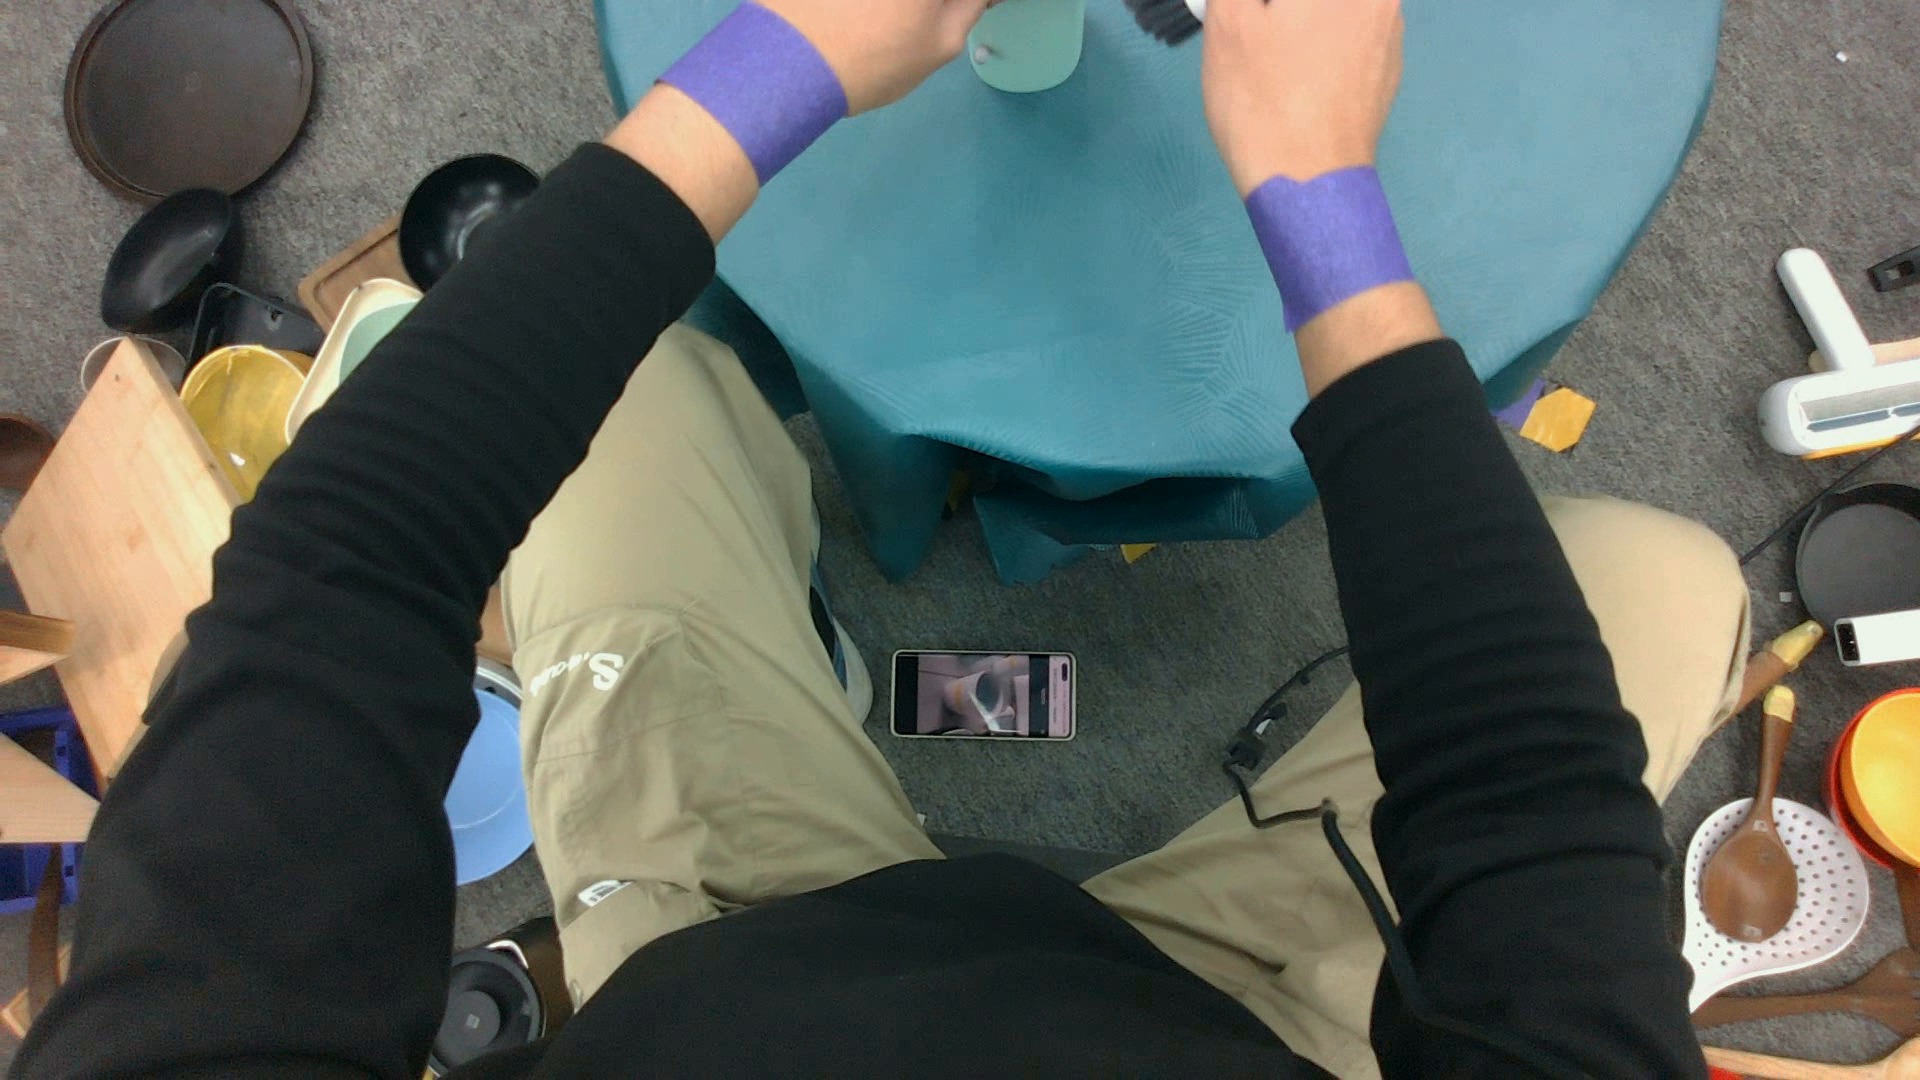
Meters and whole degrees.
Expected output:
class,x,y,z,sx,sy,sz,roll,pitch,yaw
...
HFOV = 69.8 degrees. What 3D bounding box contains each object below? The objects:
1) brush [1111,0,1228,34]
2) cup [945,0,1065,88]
class,x,y,z,sx,sy,sz,roll,pitch,yaw
brush,0.102,-0.273,0.581,0.072,0.050,0.099,-6,78,41
cup,0.024,-0.278,0.672,0.067,0.132,0.067,0,83,2
